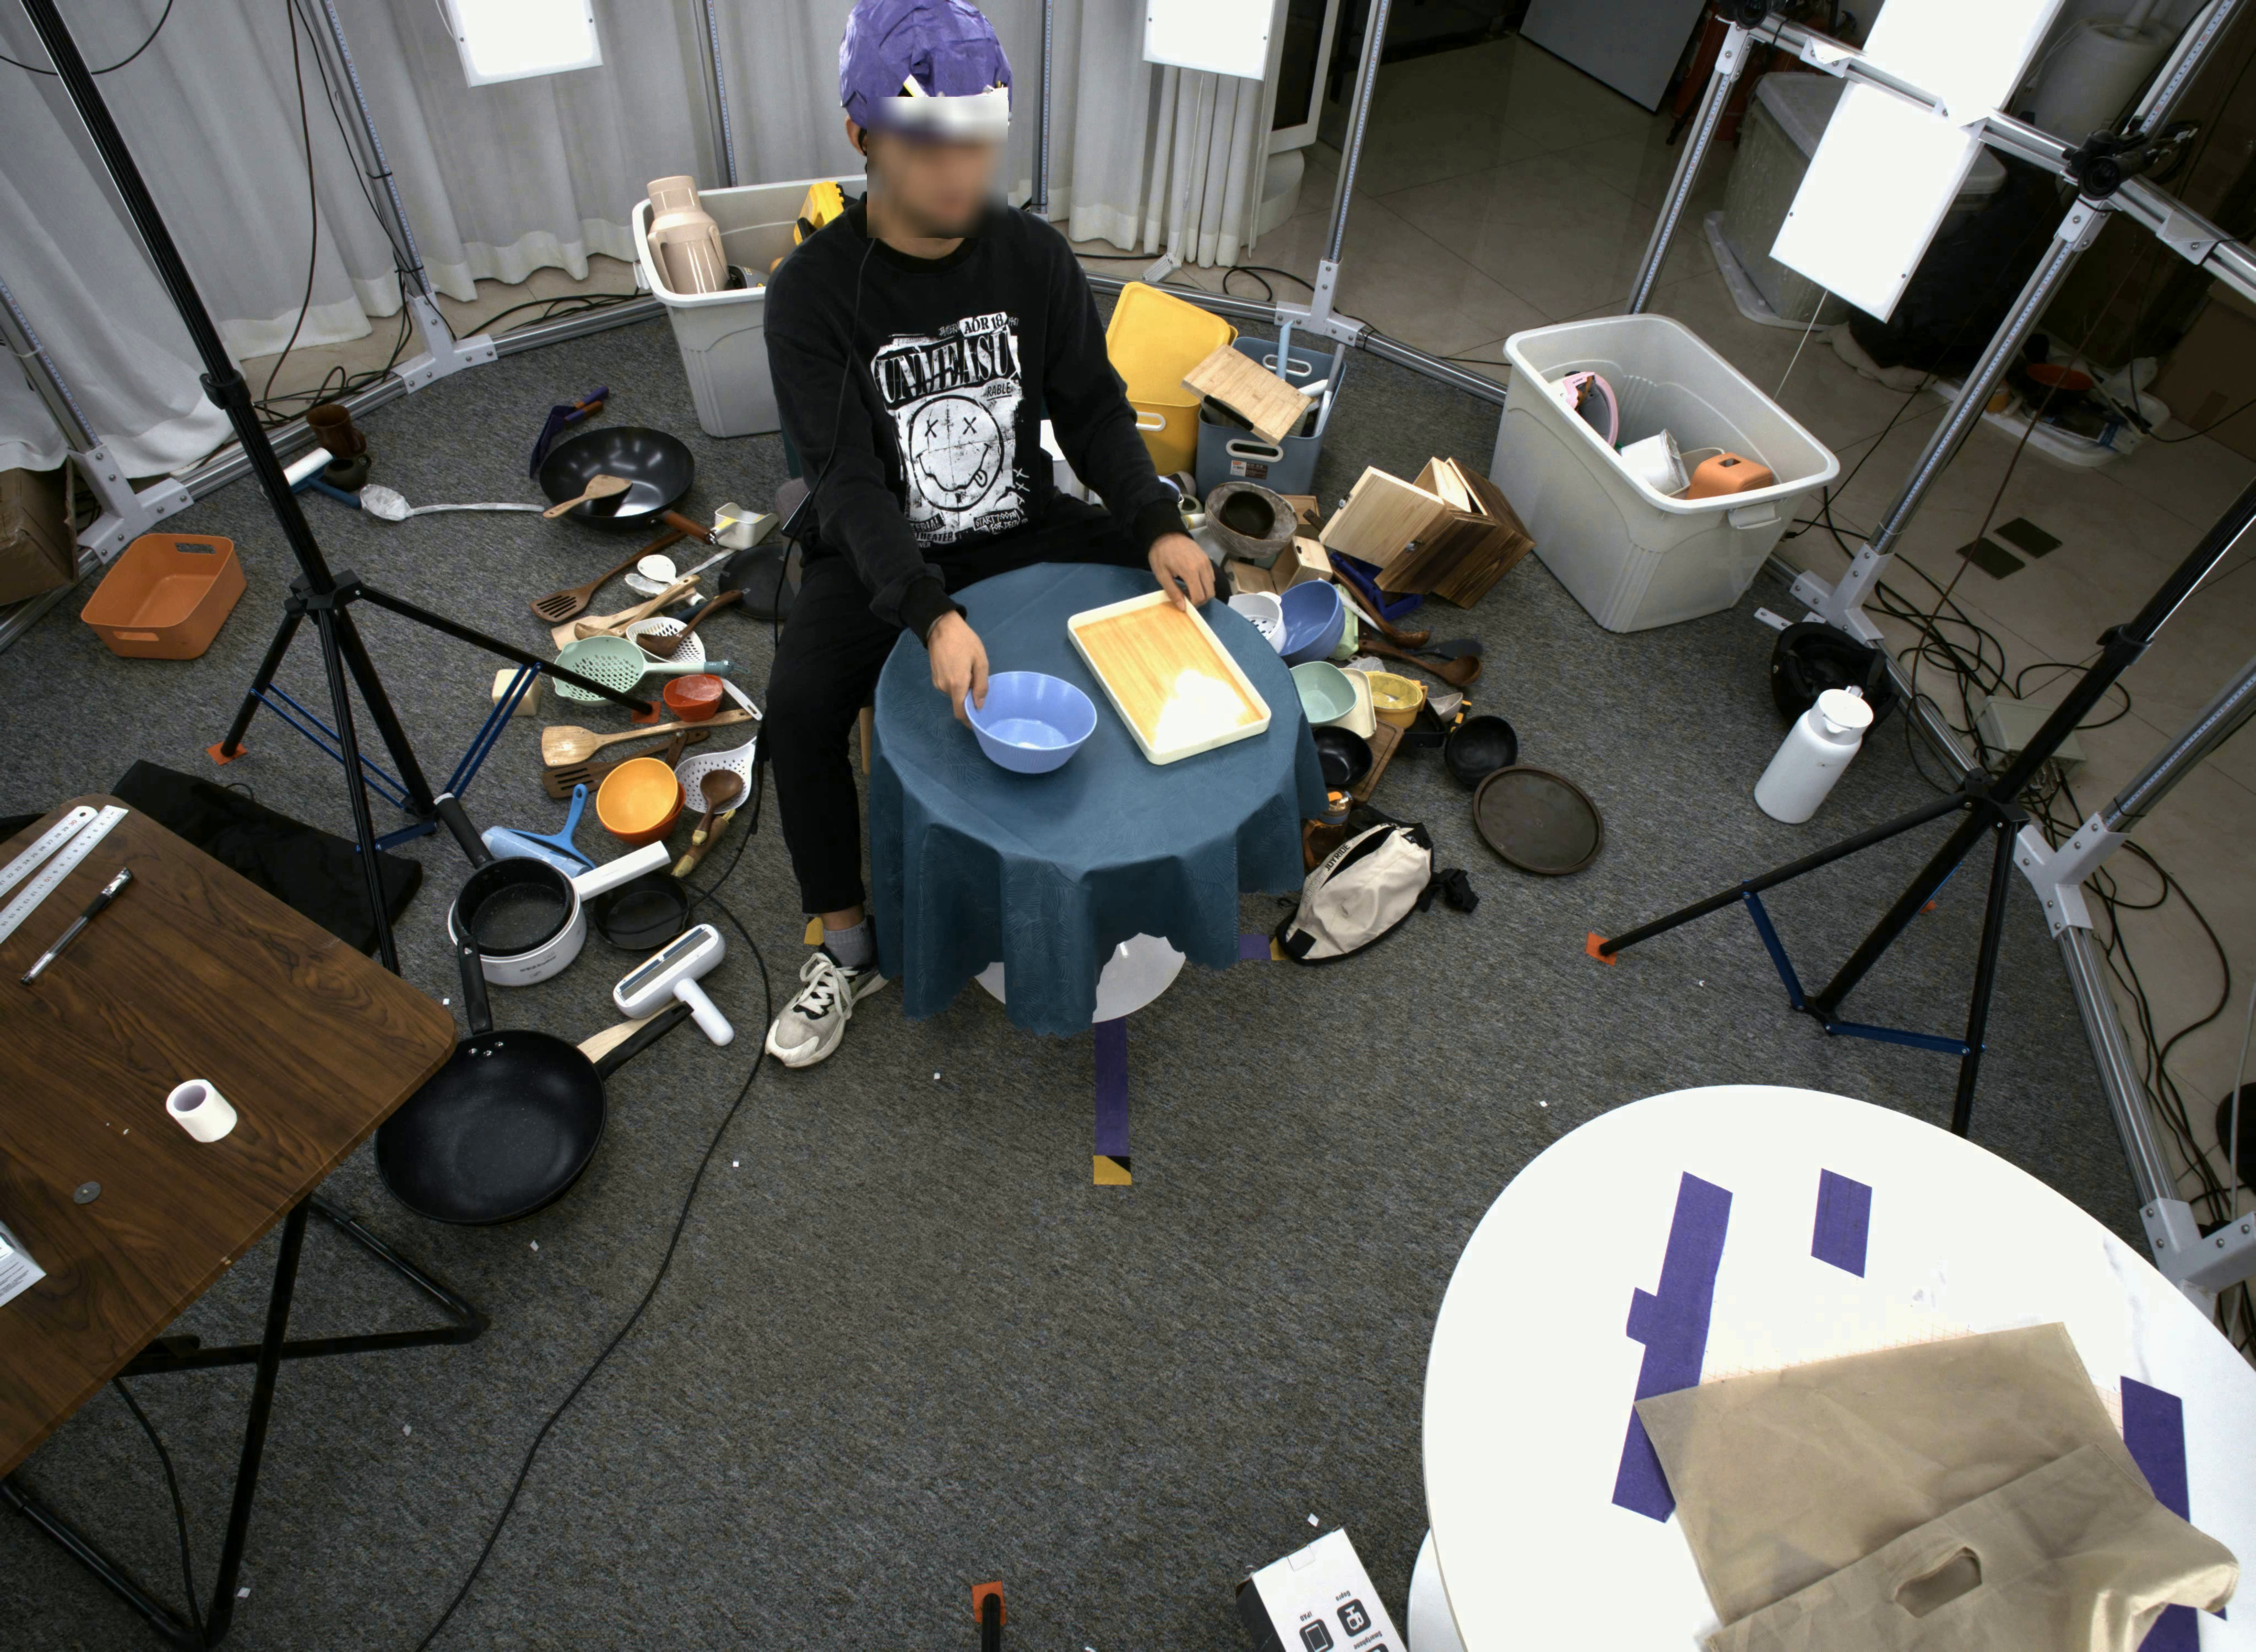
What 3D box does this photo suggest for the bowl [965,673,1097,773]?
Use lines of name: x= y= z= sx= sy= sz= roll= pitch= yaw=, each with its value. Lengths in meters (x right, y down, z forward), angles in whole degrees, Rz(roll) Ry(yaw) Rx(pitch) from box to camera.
bowl: x=-0.134 y=-0.131 z=1.730 sx=0.176 sy=0.069 sz=0.180 roll=7 pitch=39 yaw=-6

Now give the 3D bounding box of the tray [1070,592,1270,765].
tray: x=0.056 y=-0.220 z=1.861 sx=0.192 sy=0.027 sz=0.307 roll=-18 pitch=53 yaw=-18
